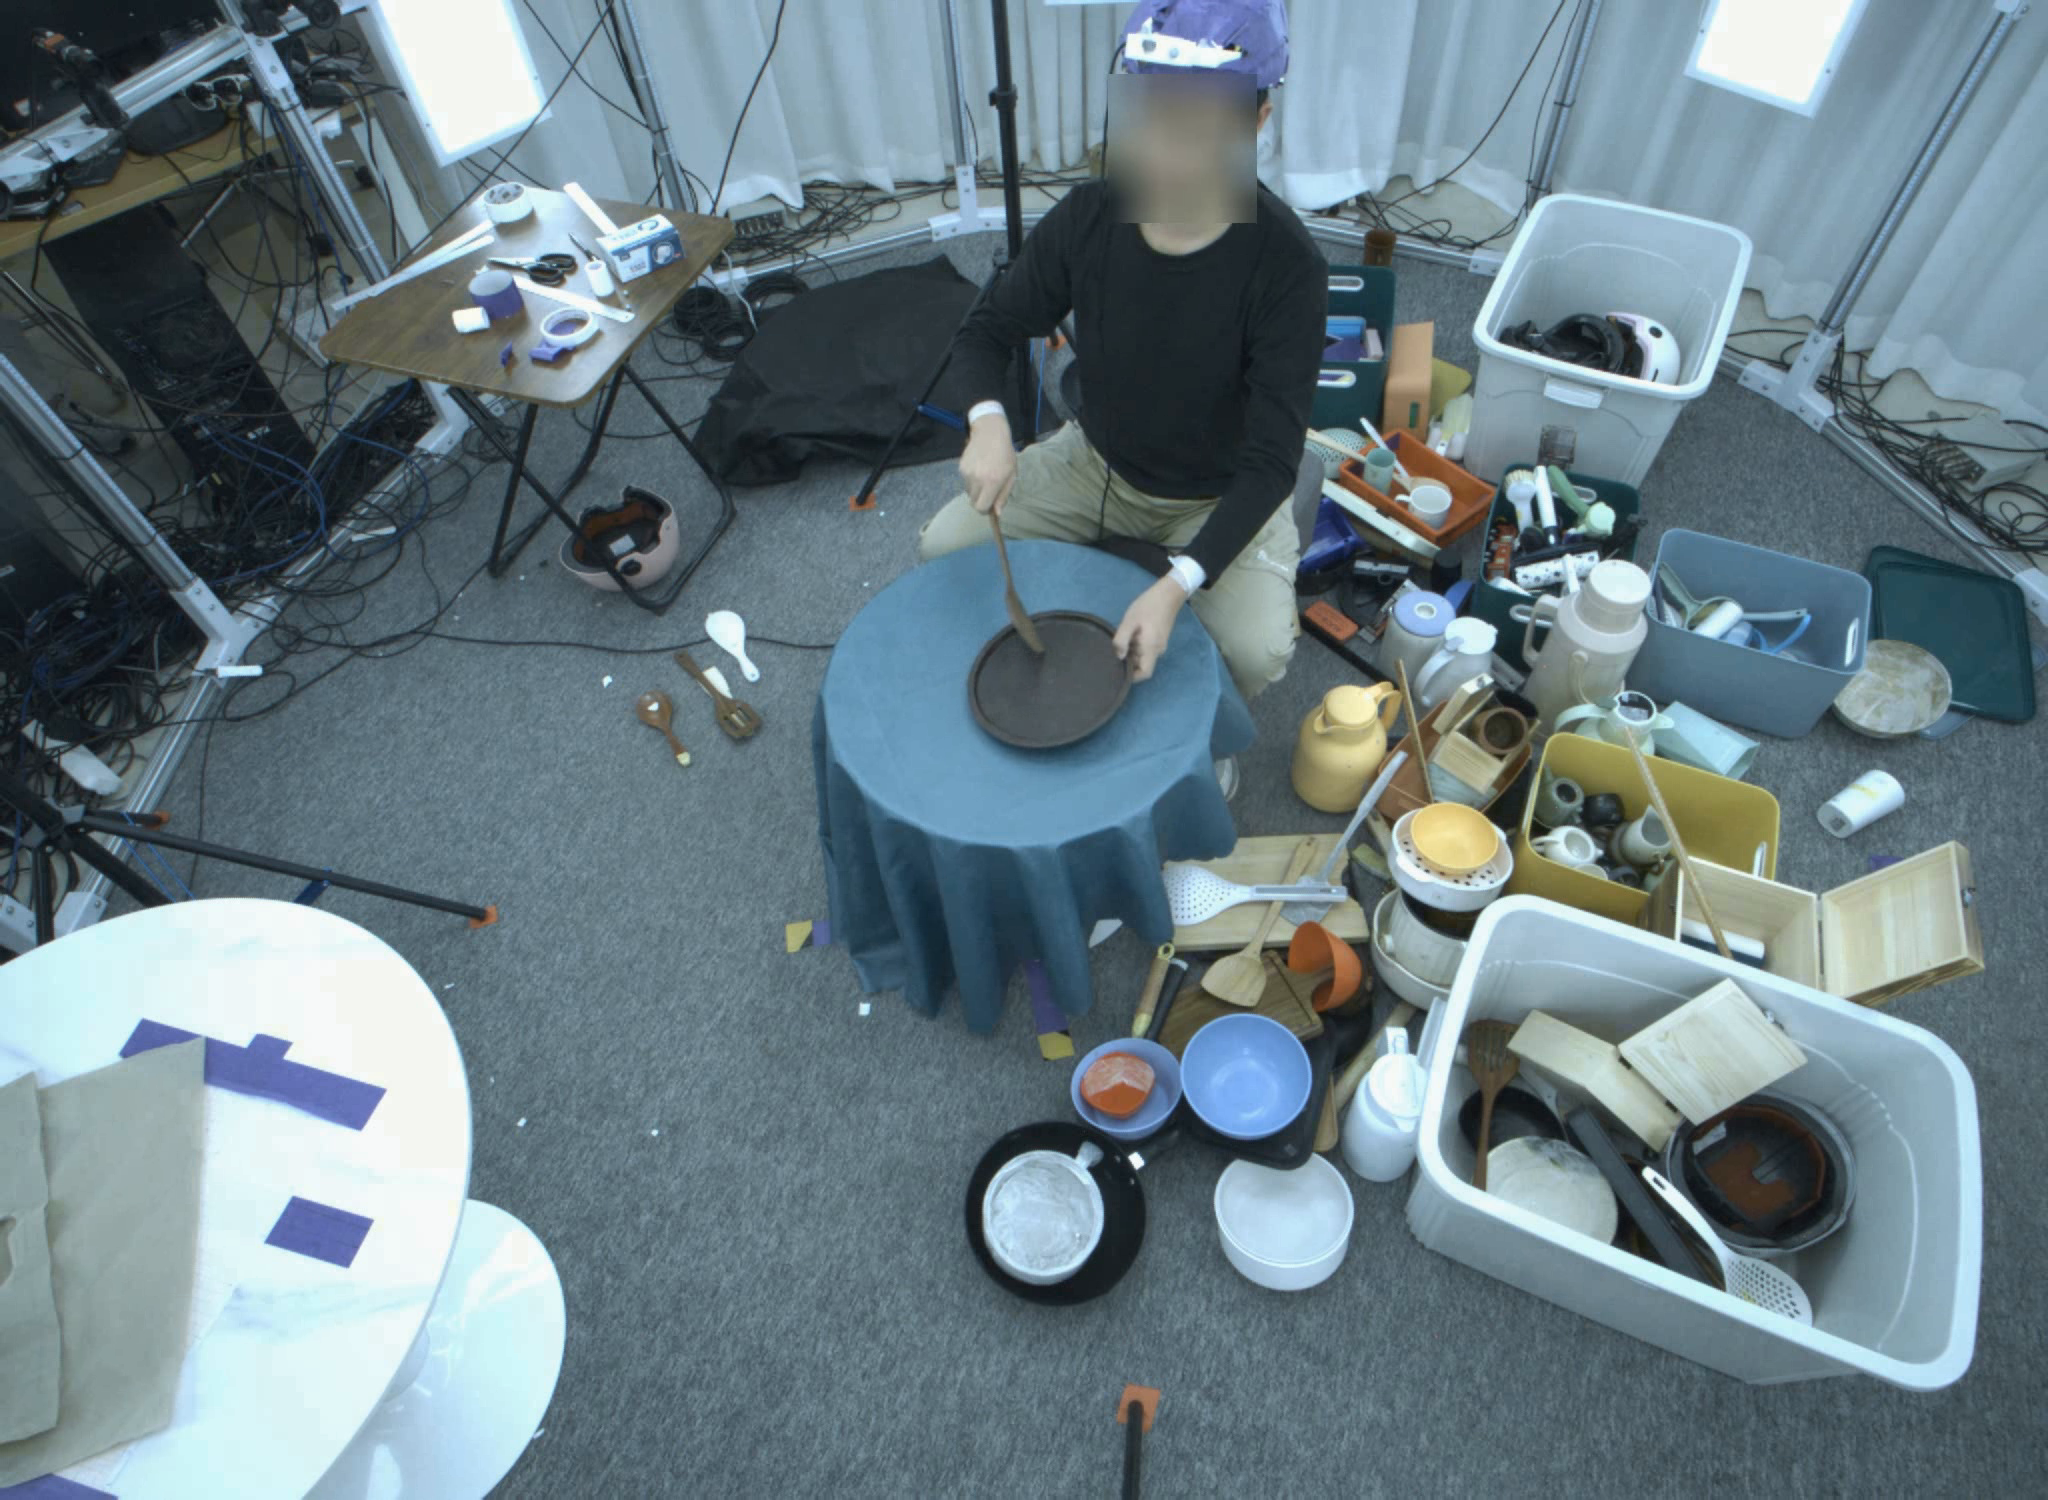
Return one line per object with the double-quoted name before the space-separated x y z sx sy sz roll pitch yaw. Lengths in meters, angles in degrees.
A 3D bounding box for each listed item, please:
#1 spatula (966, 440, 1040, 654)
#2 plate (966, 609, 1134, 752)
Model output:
"spatula" -0.041 -0.321 1.868 0.015 0.098 0.382 -20 71 16
"plate" 0.038 -0.105 1.823 0.253 0.029 0.252 -6 58 11
